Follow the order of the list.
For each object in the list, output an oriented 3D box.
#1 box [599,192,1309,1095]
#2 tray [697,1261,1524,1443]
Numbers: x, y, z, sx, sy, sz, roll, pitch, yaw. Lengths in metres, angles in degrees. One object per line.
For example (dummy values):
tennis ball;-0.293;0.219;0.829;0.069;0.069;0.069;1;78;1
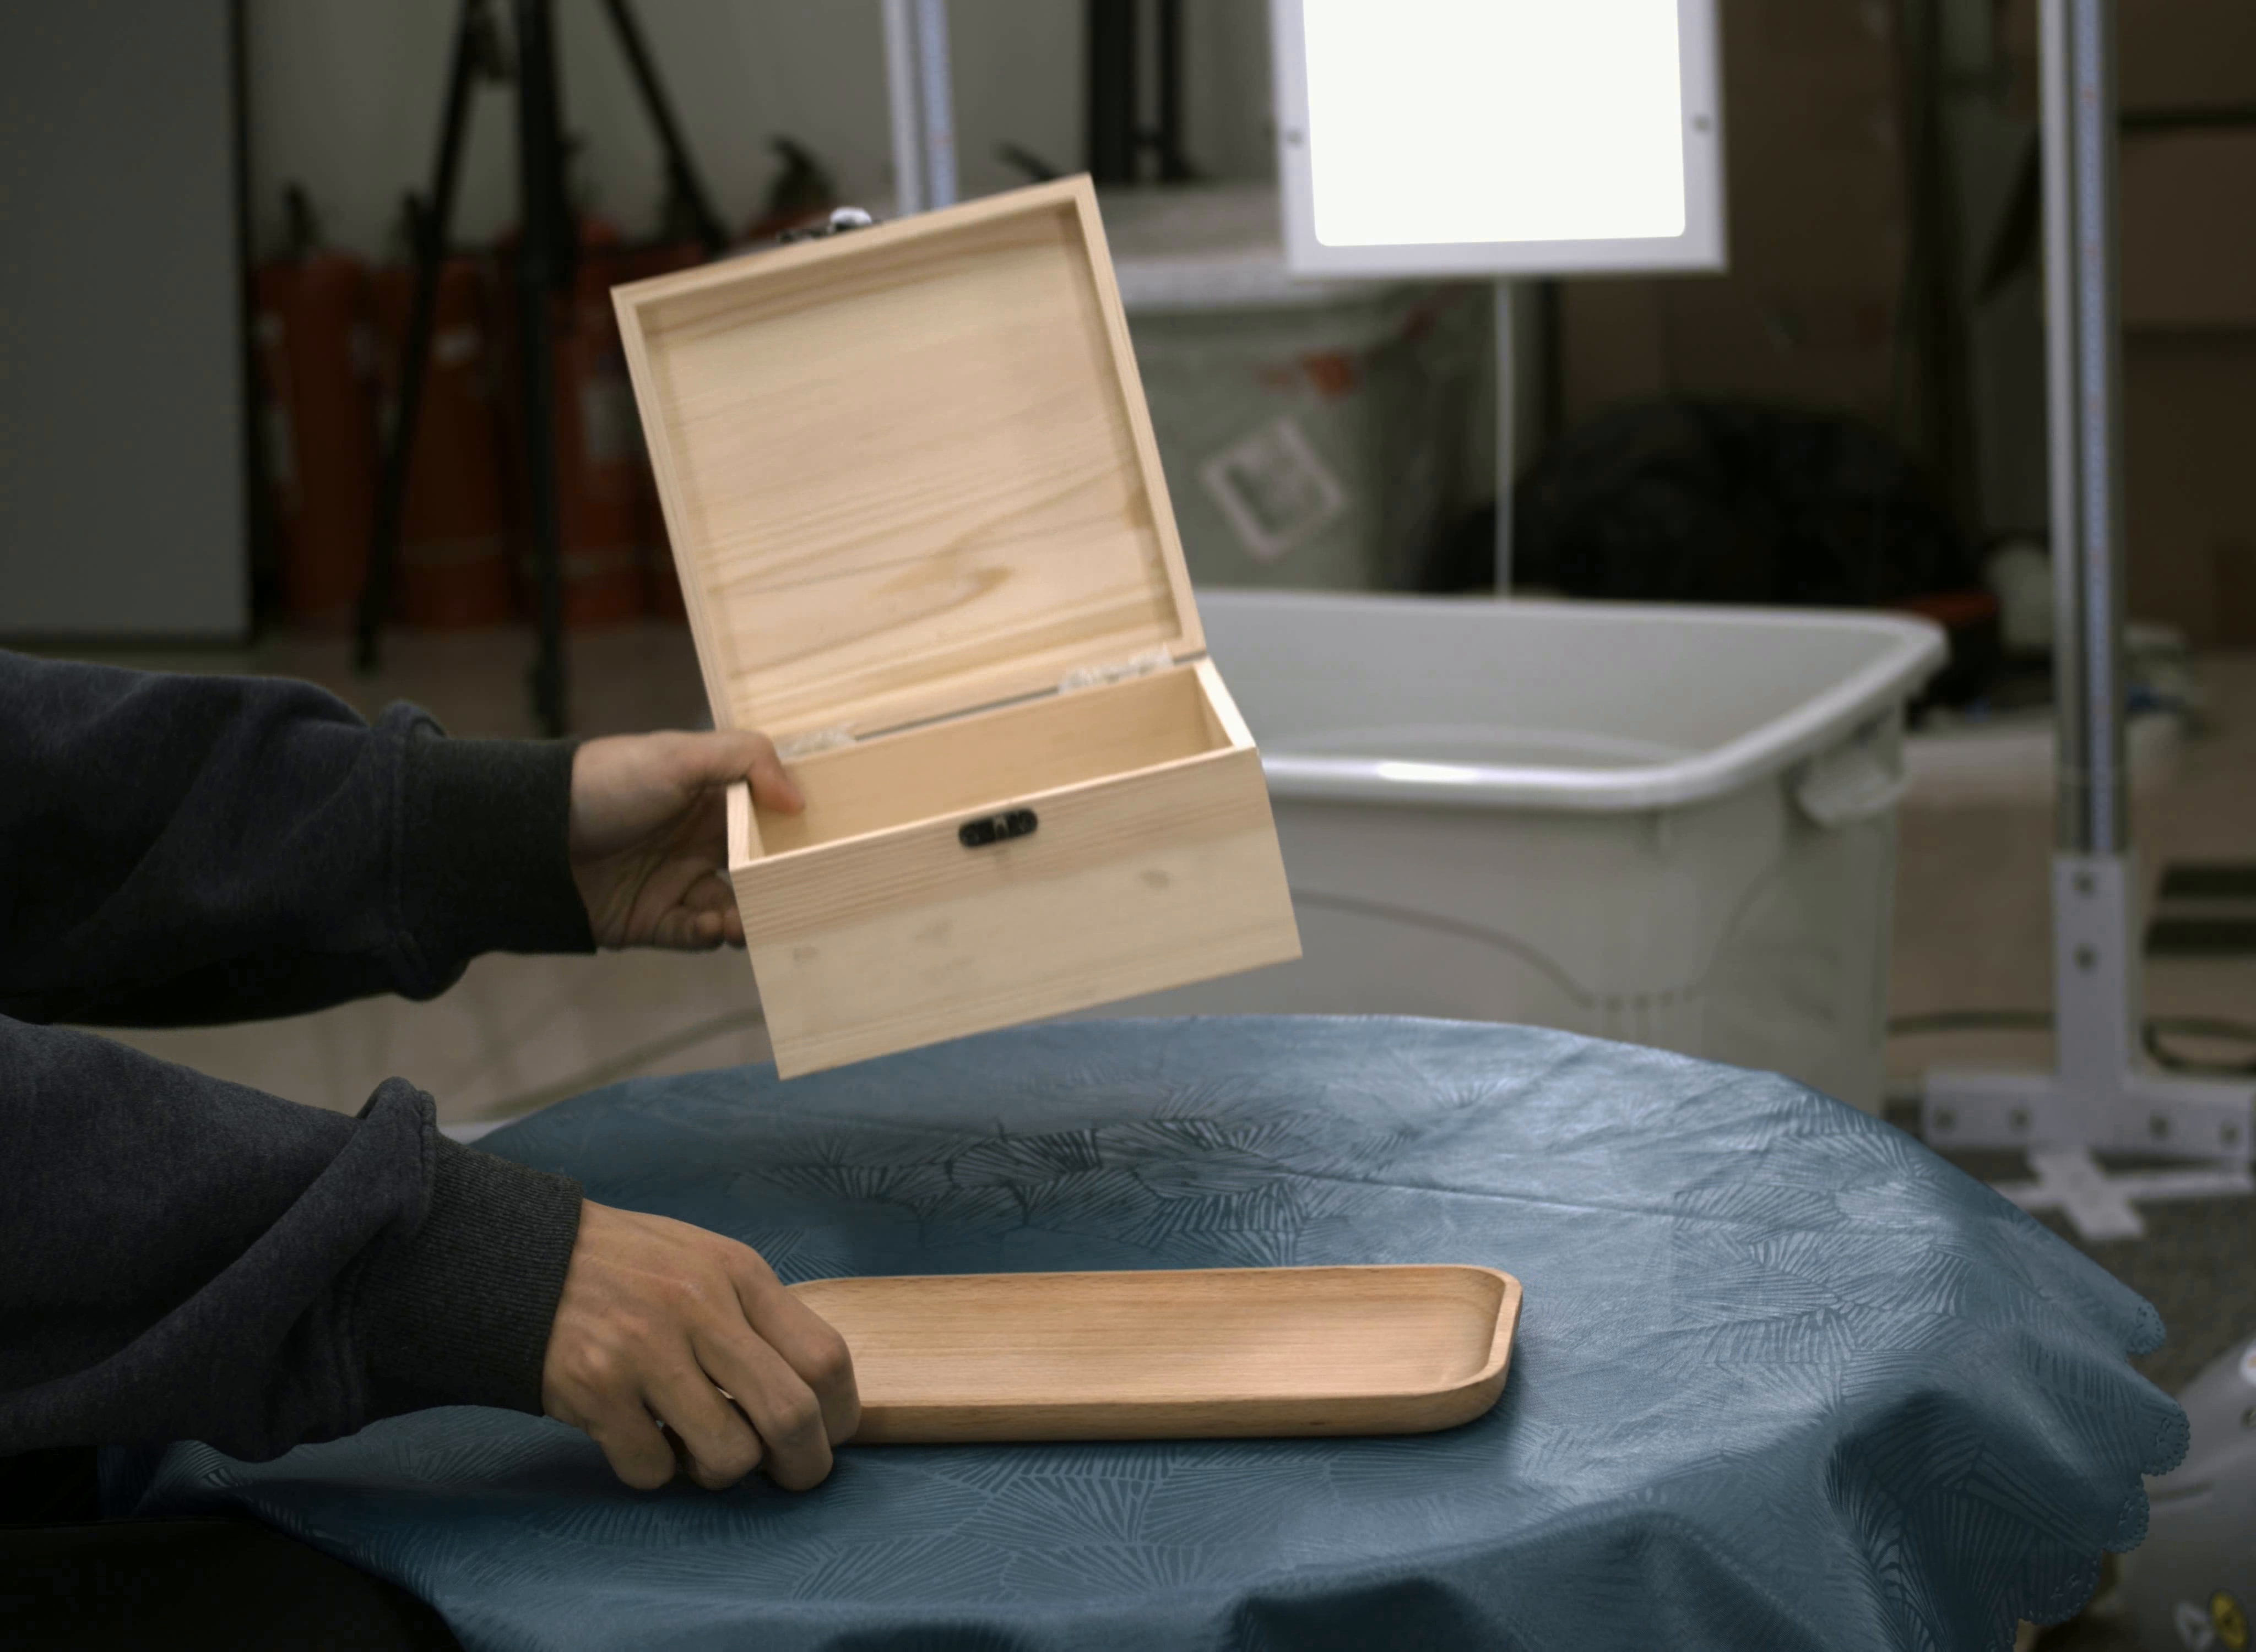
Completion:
box;-0.066;-0.072;1.931;0.181;0.253;0.265;-16;10;-1
tray;-0.004;0.163;1.709;0.252;0.023;0.129;-3;11;11
